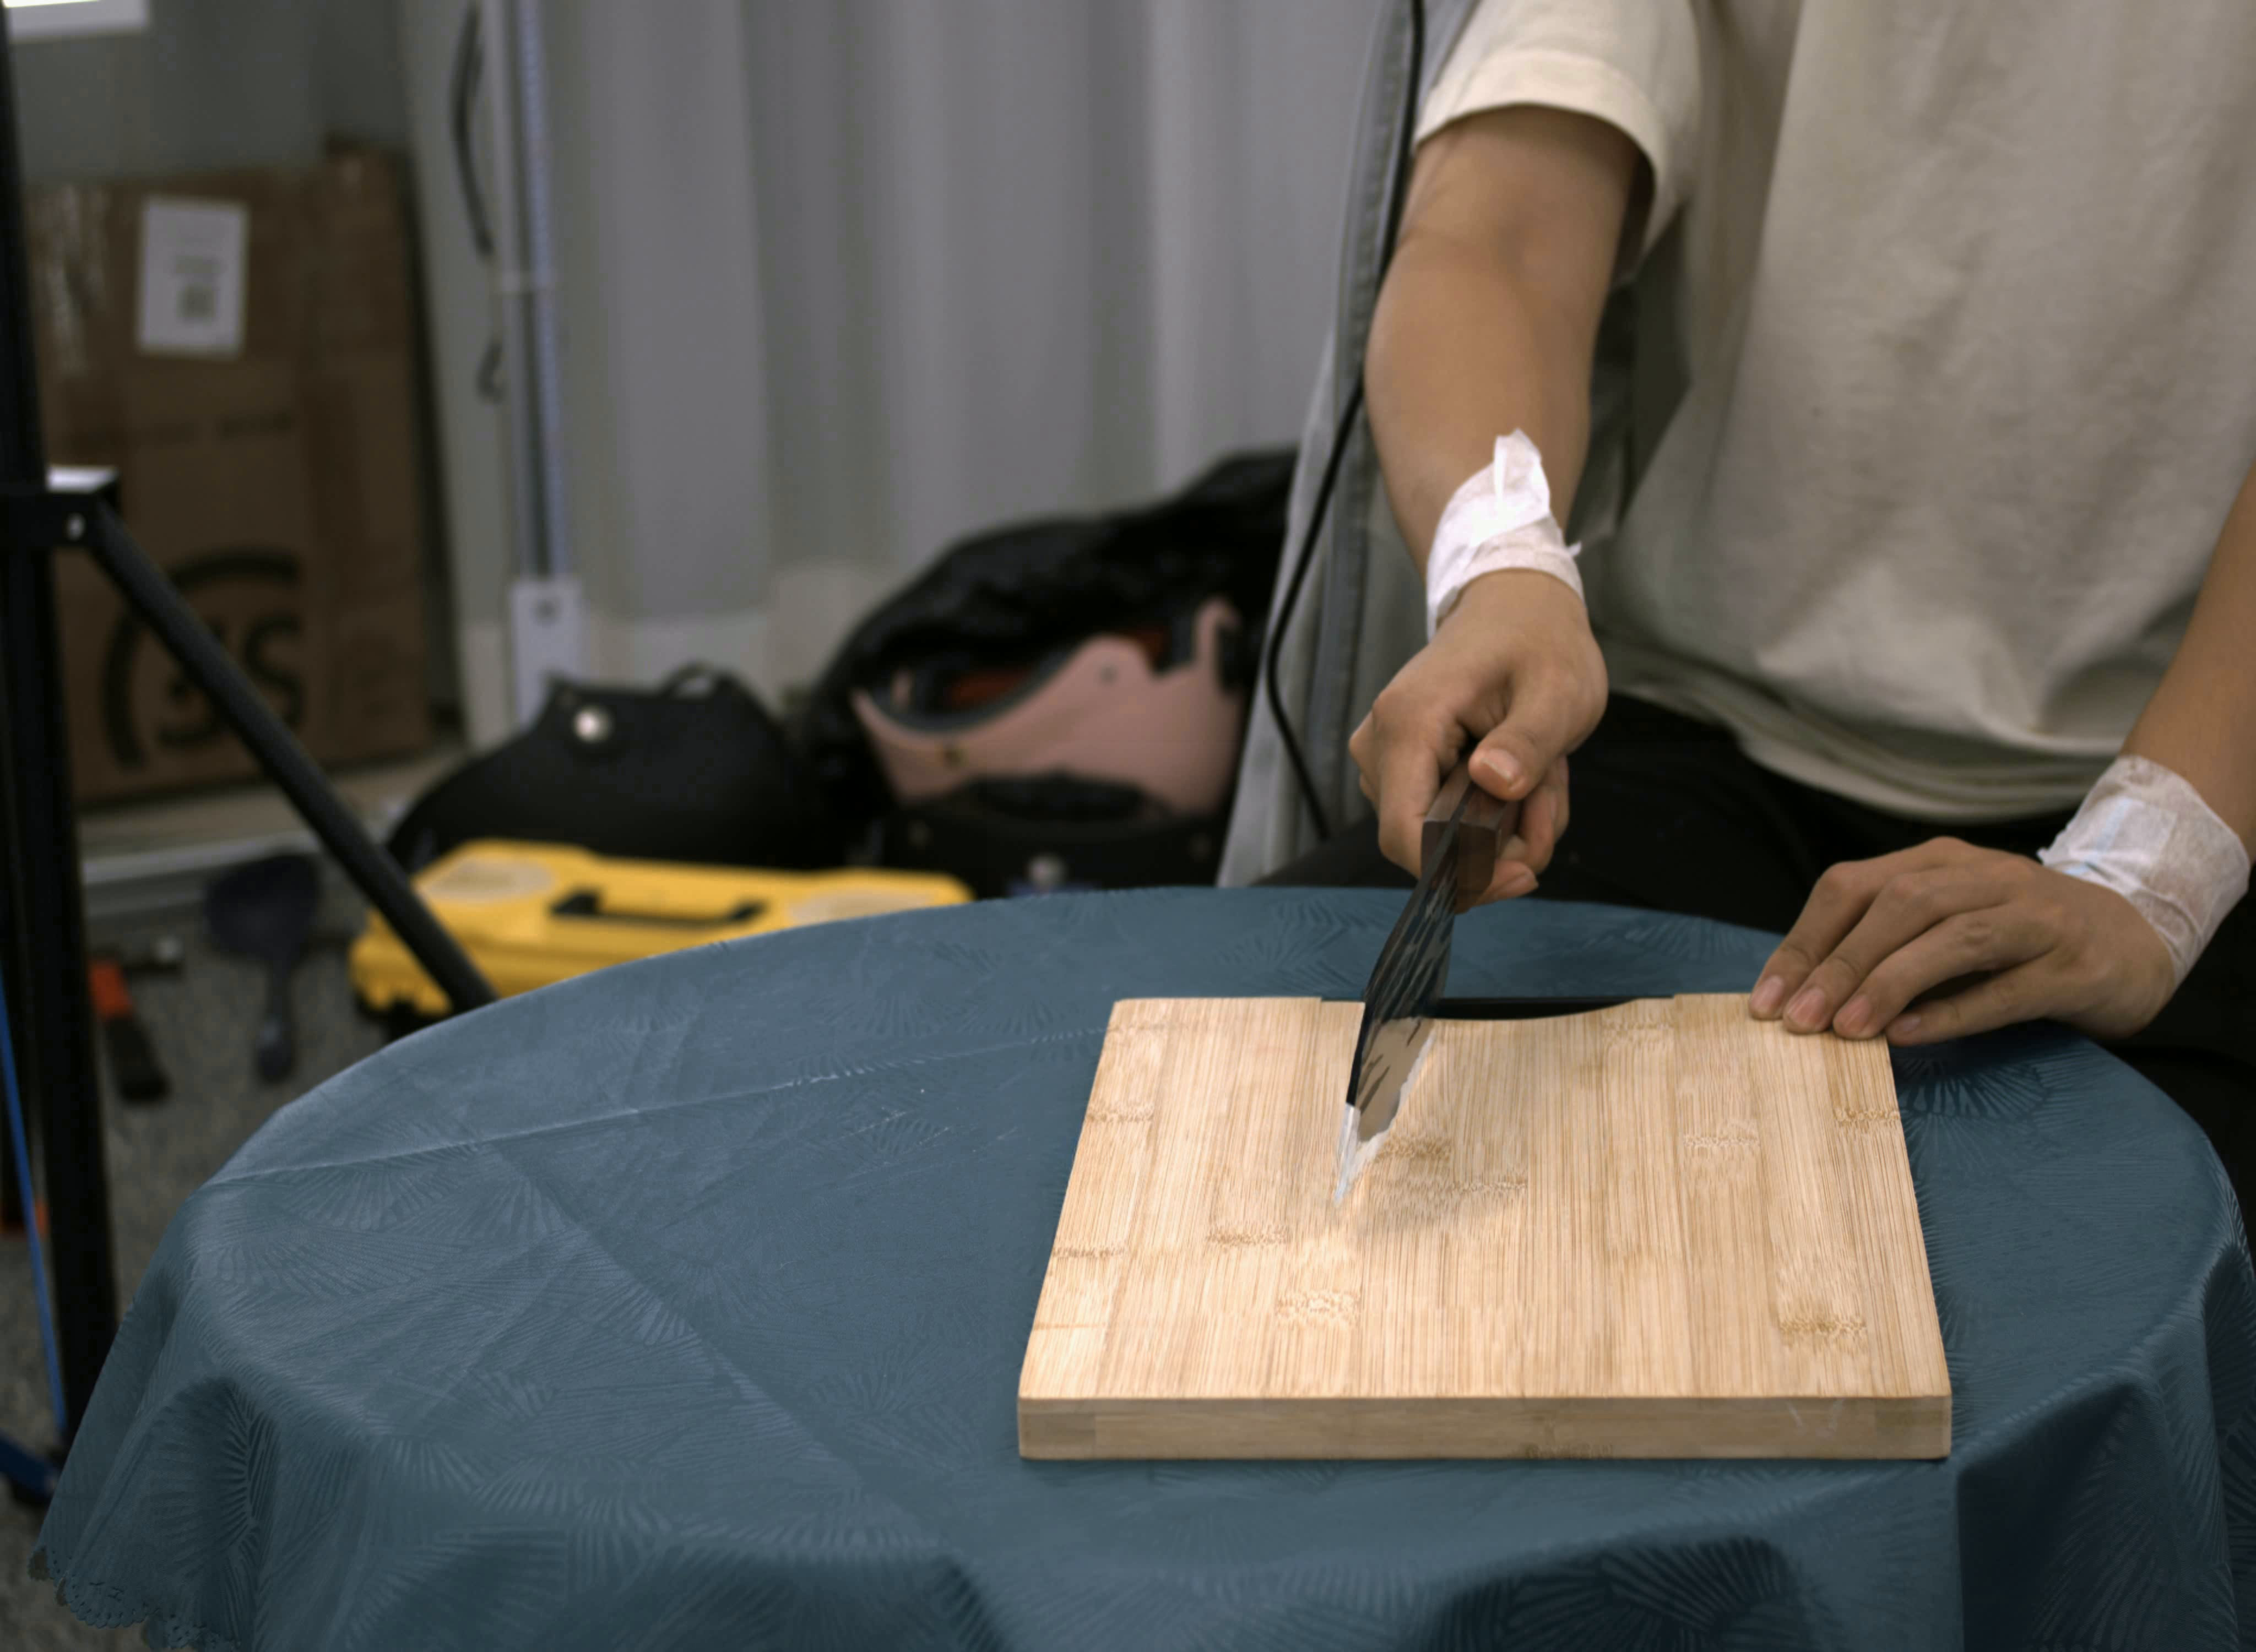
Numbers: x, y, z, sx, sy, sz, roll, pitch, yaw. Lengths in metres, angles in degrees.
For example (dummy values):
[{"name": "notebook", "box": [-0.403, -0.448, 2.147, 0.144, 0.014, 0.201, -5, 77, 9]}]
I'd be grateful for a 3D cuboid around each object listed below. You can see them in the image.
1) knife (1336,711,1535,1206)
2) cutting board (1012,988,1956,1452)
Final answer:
[{"name": "knife", "box": [0.091, 0.036, 1.592, 0.024, 0.068, 0.298, 7, 20, 10]}, {"name": "cutting board", "box": [0.104, 0.107, 1.511, 0.250, 0.023, 0.349, -1, 15, 4]}]
